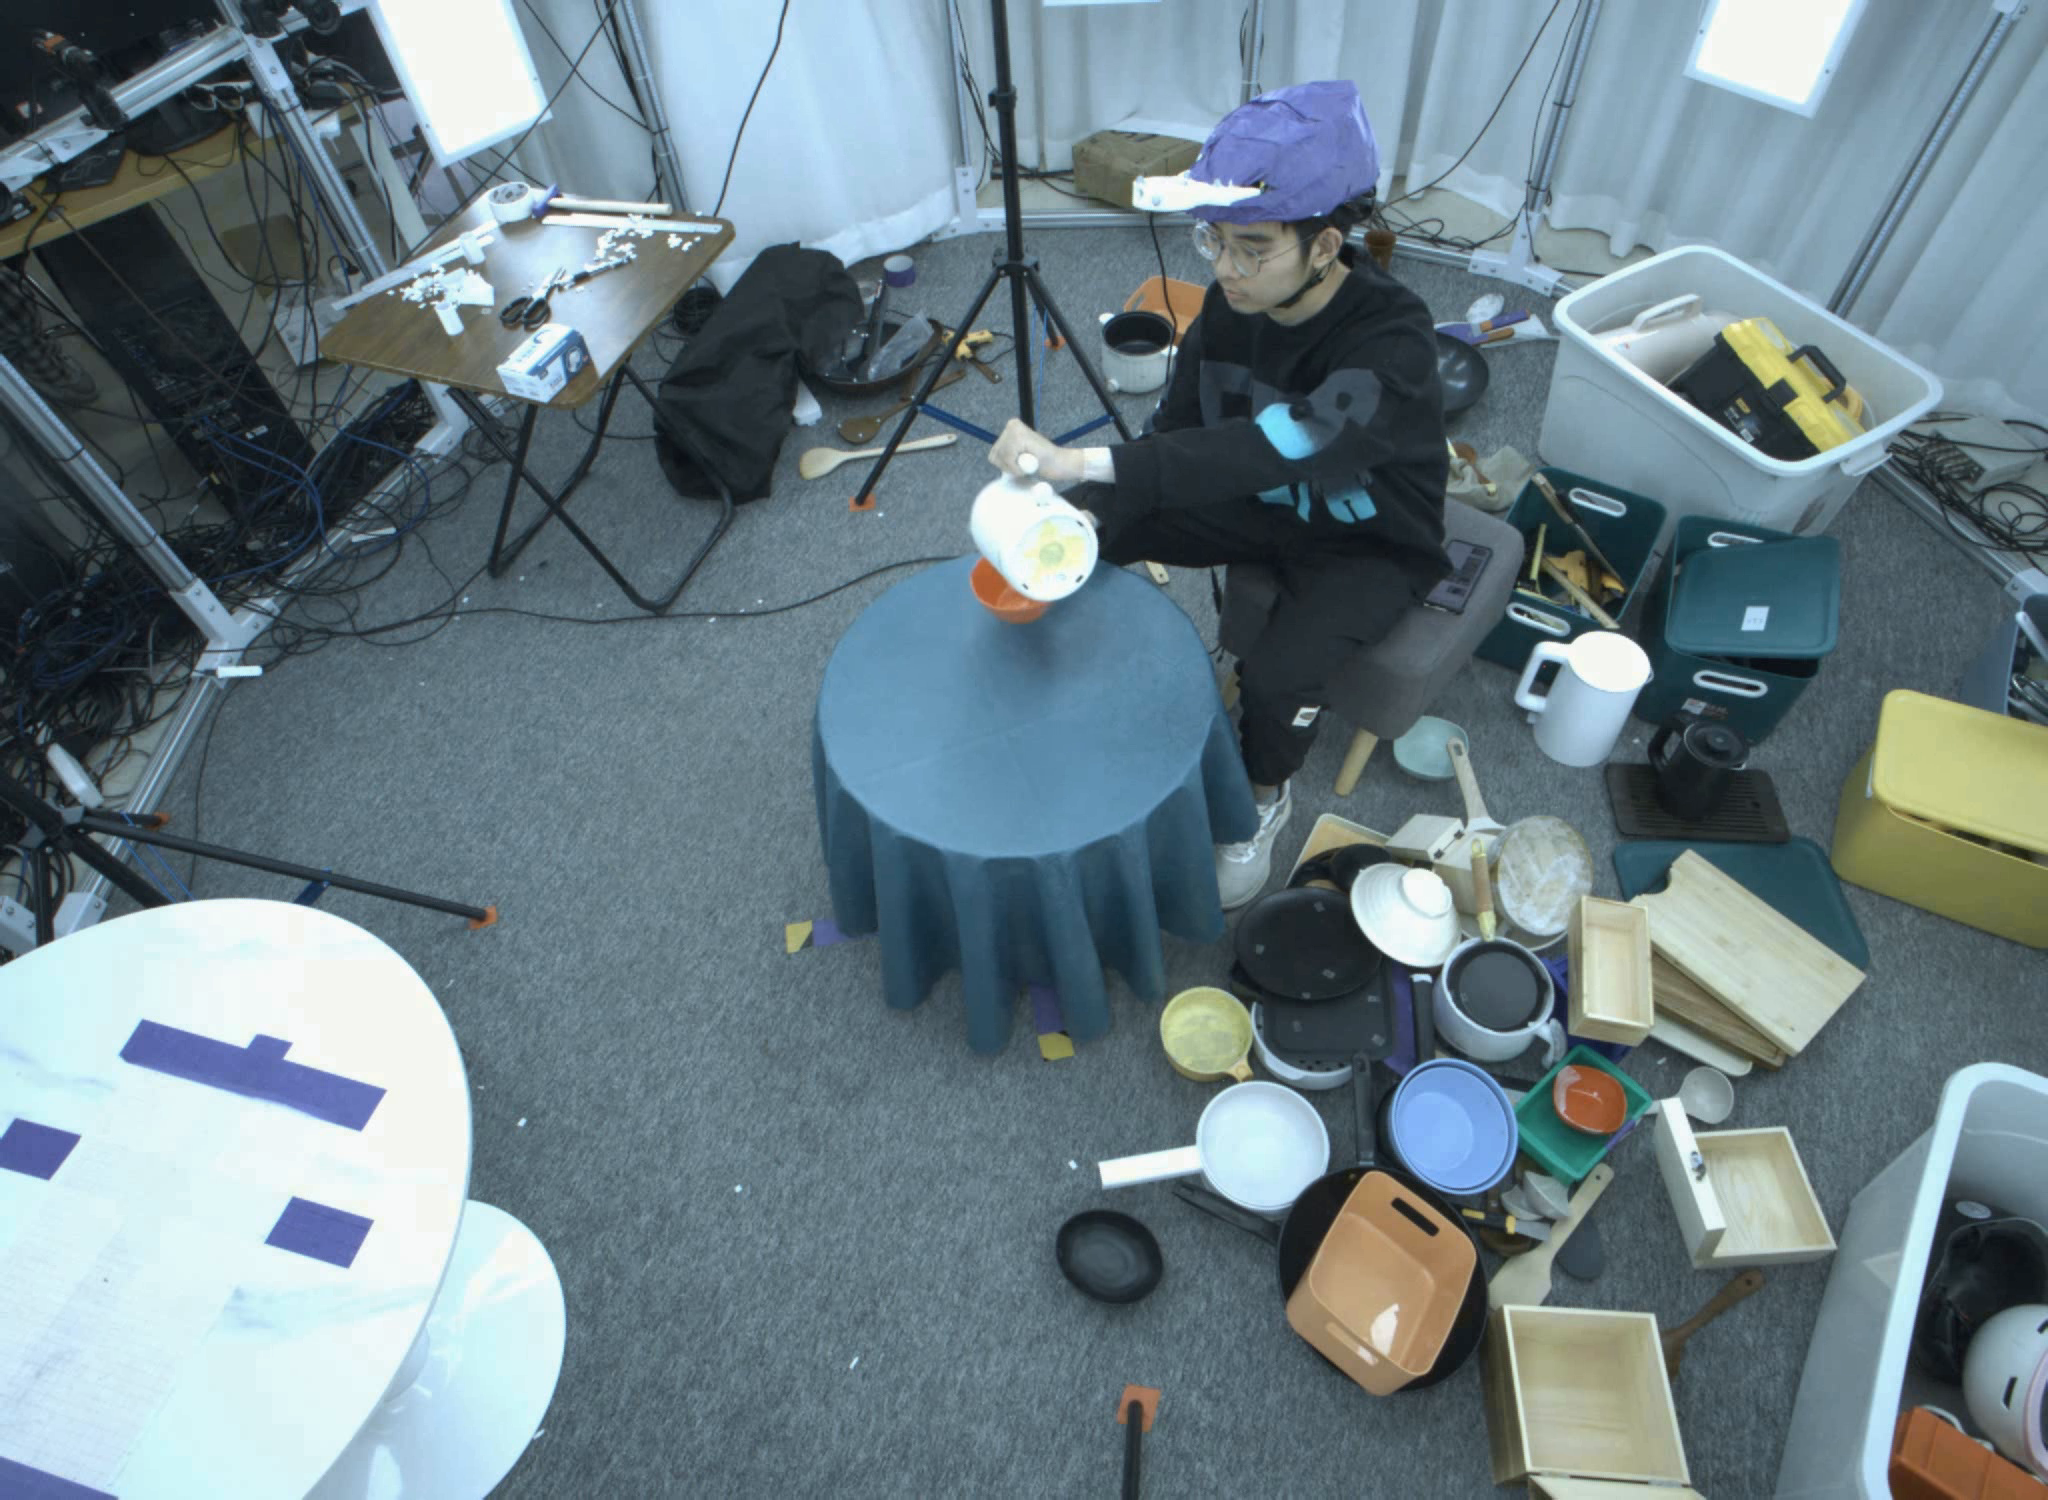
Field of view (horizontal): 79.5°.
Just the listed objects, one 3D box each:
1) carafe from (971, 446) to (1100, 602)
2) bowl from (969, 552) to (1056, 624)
[{"bbox_3d":[0.009,-0.309,1.634,0.133,0.193,0.178,-16,38,-17],"label":"carafe"},{"bbox_3d":[-0.008,-0.239,1.850,0.148,0.105,0.146,0,61,1],"label":"bowl"}]
